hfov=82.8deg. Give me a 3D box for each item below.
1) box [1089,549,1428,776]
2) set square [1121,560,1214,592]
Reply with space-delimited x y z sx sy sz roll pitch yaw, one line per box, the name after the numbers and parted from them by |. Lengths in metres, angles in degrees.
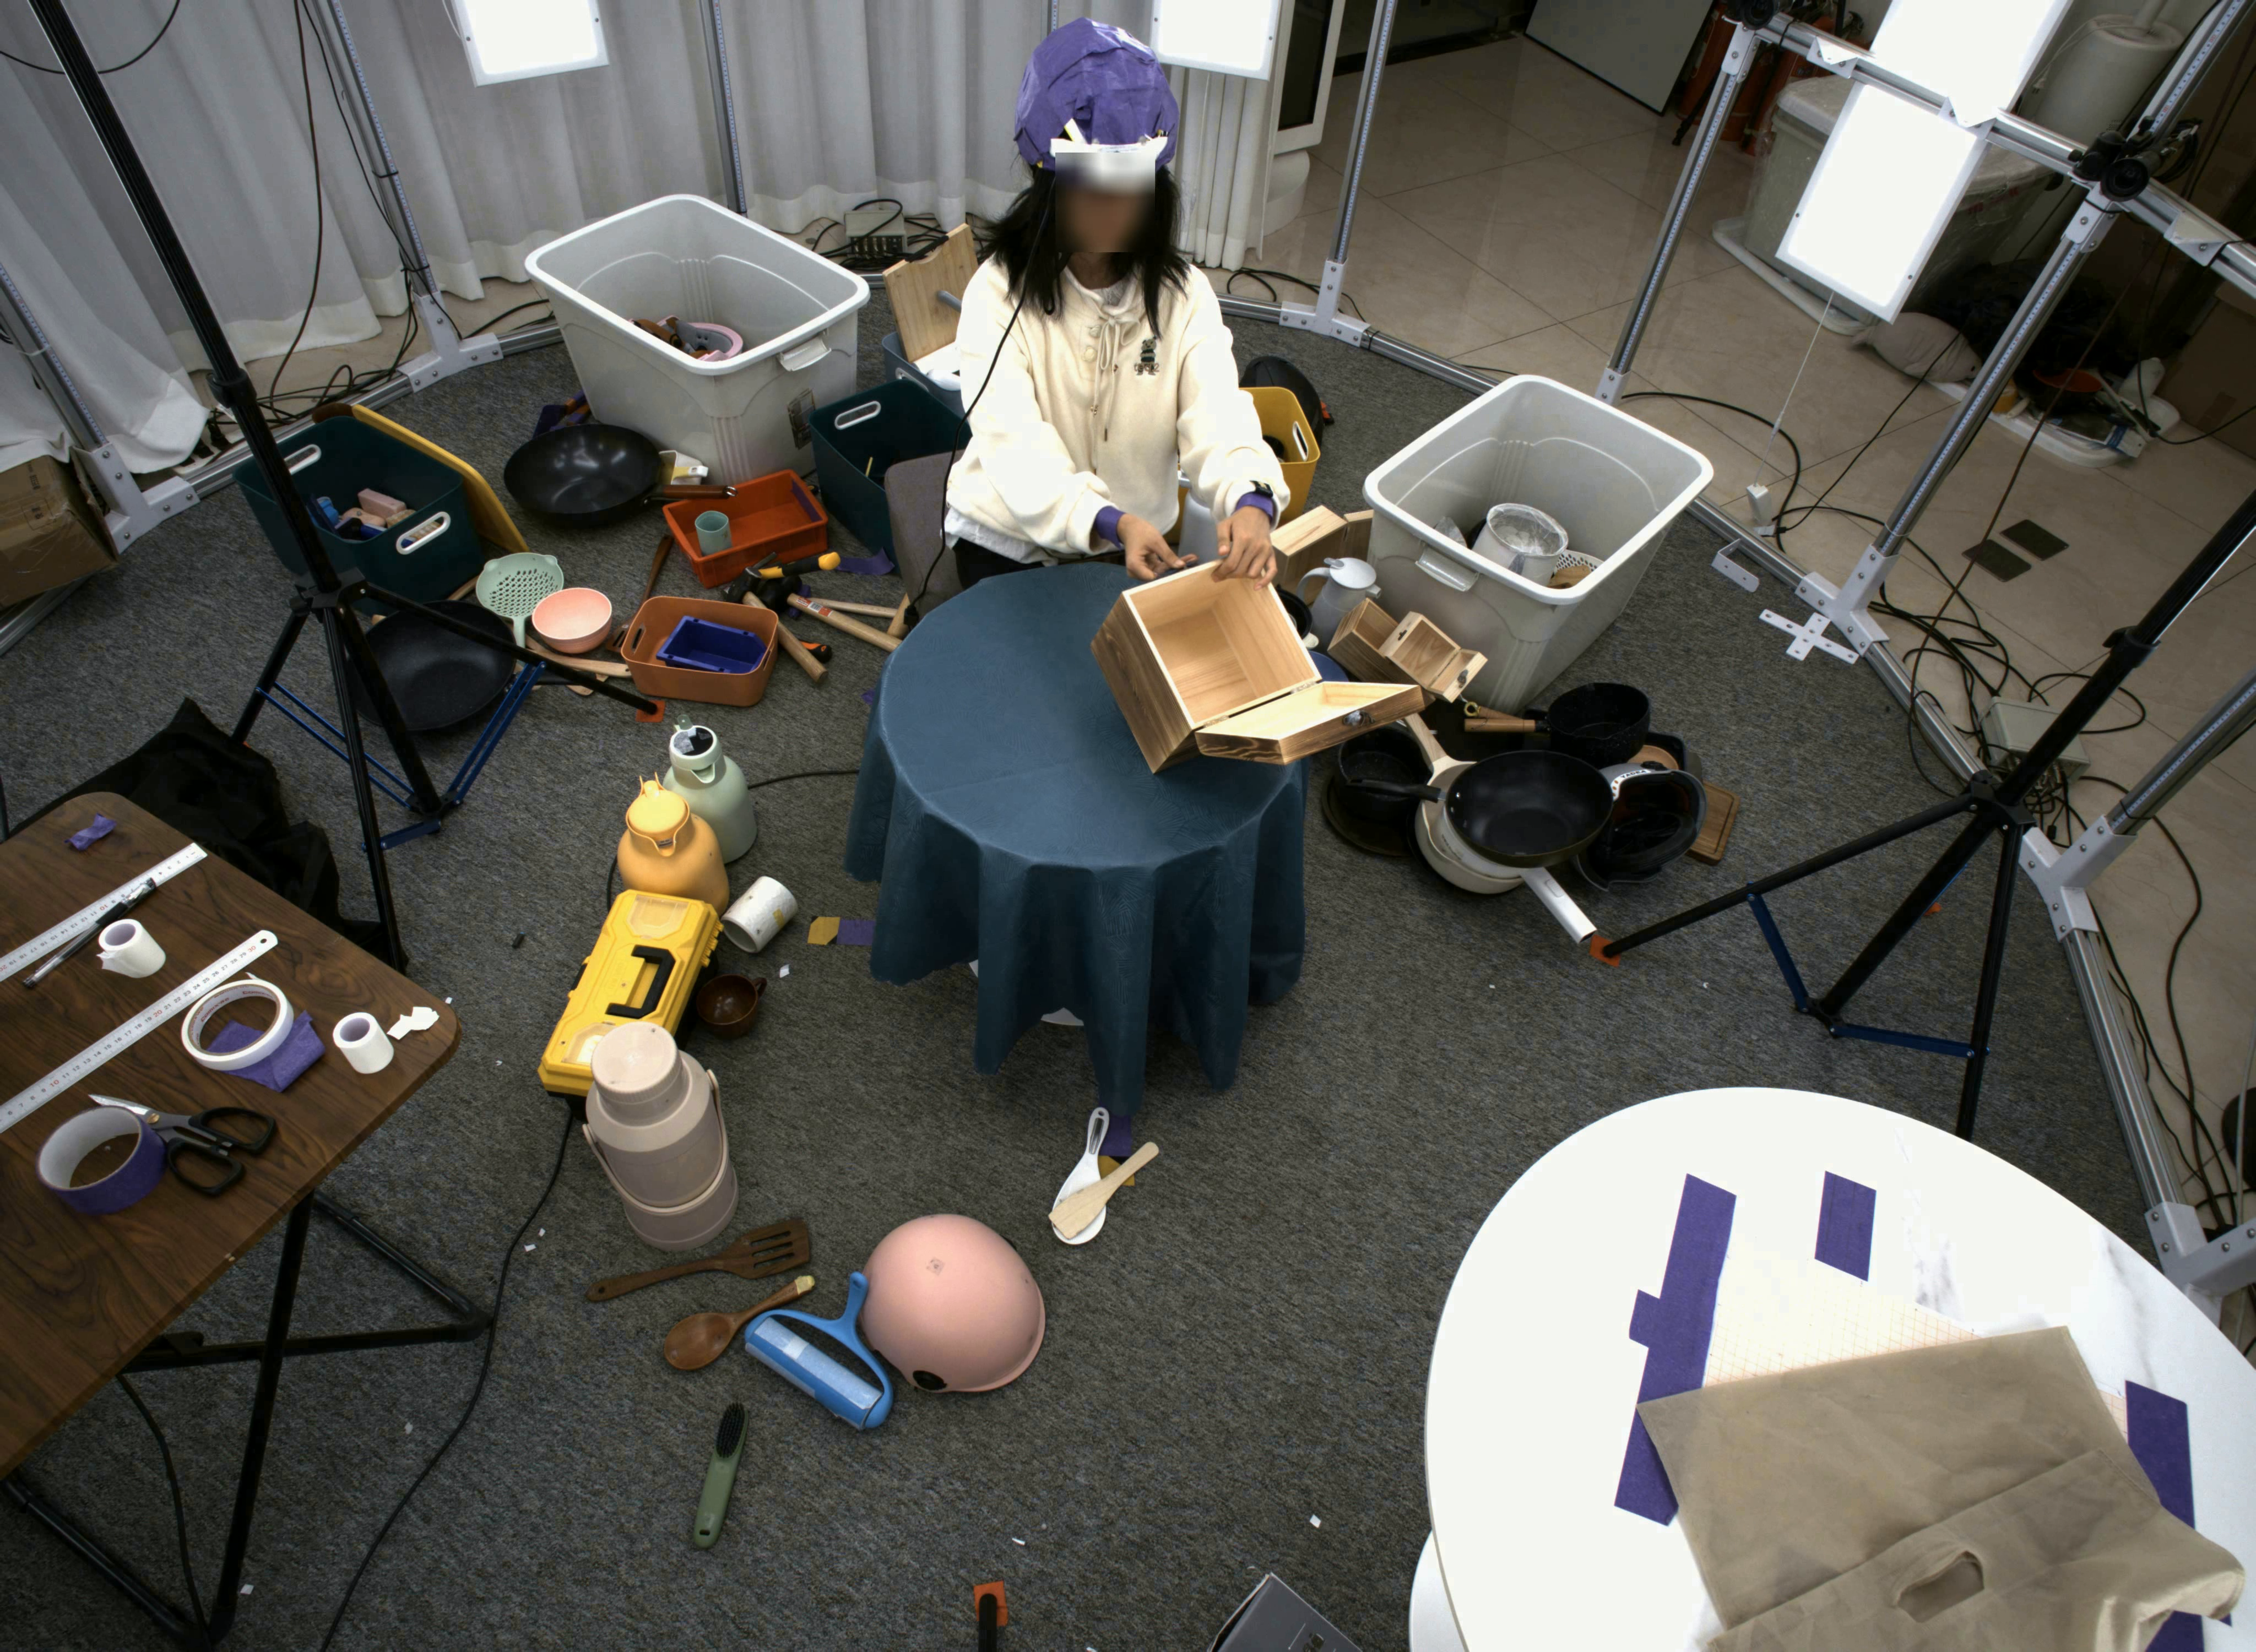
0.149 -0.200 1.619 0.209 0.371 0.325 -22 80 -22 | box
0.044 -0.332 1.693 0.132 0.006 0.062 -22 22 -16 | set square
